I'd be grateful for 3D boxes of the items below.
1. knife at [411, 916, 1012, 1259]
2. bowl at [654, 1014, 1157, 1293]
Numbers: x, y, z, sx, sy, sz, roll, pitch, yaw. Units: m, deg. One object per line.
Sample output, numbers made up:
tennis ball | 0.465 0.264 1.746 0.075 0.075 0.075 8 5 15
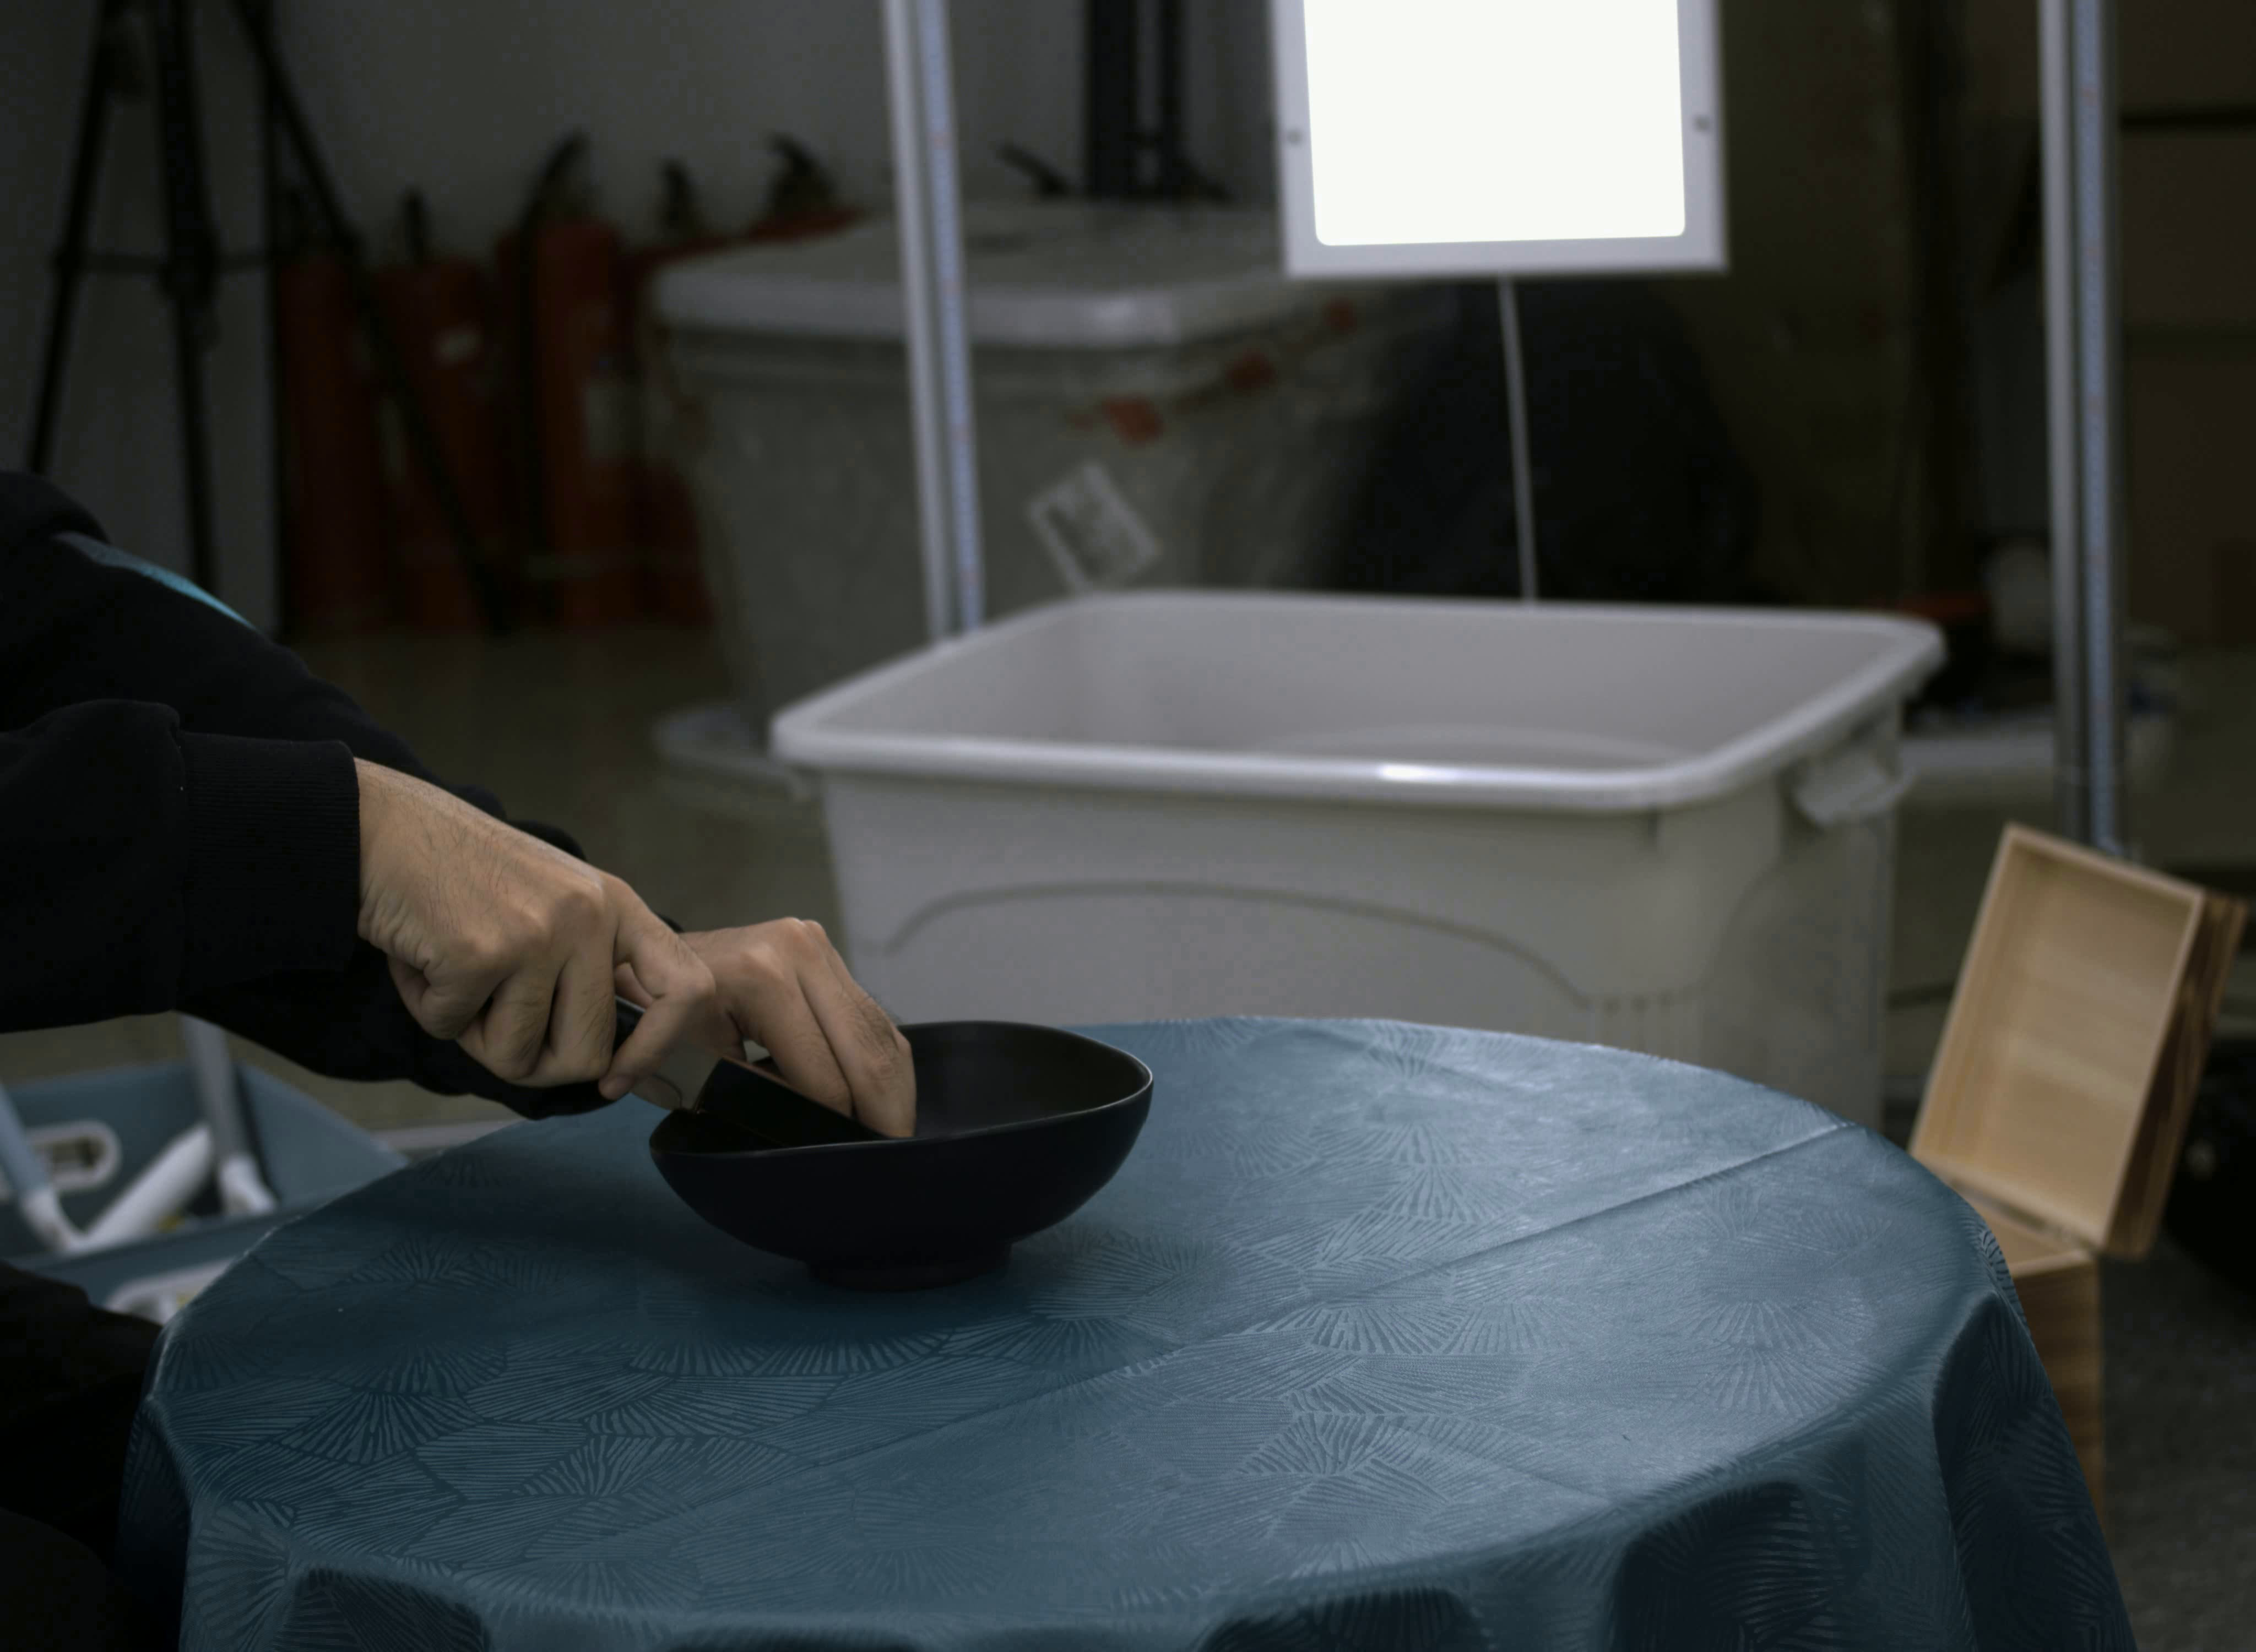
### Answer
knife | -0.136 0.086 1.816 0.225 0.026 0.017 27 31 -1
bowl | -0.072 0.115 1.836 0.170 0.067 0.137 -7 14 0
